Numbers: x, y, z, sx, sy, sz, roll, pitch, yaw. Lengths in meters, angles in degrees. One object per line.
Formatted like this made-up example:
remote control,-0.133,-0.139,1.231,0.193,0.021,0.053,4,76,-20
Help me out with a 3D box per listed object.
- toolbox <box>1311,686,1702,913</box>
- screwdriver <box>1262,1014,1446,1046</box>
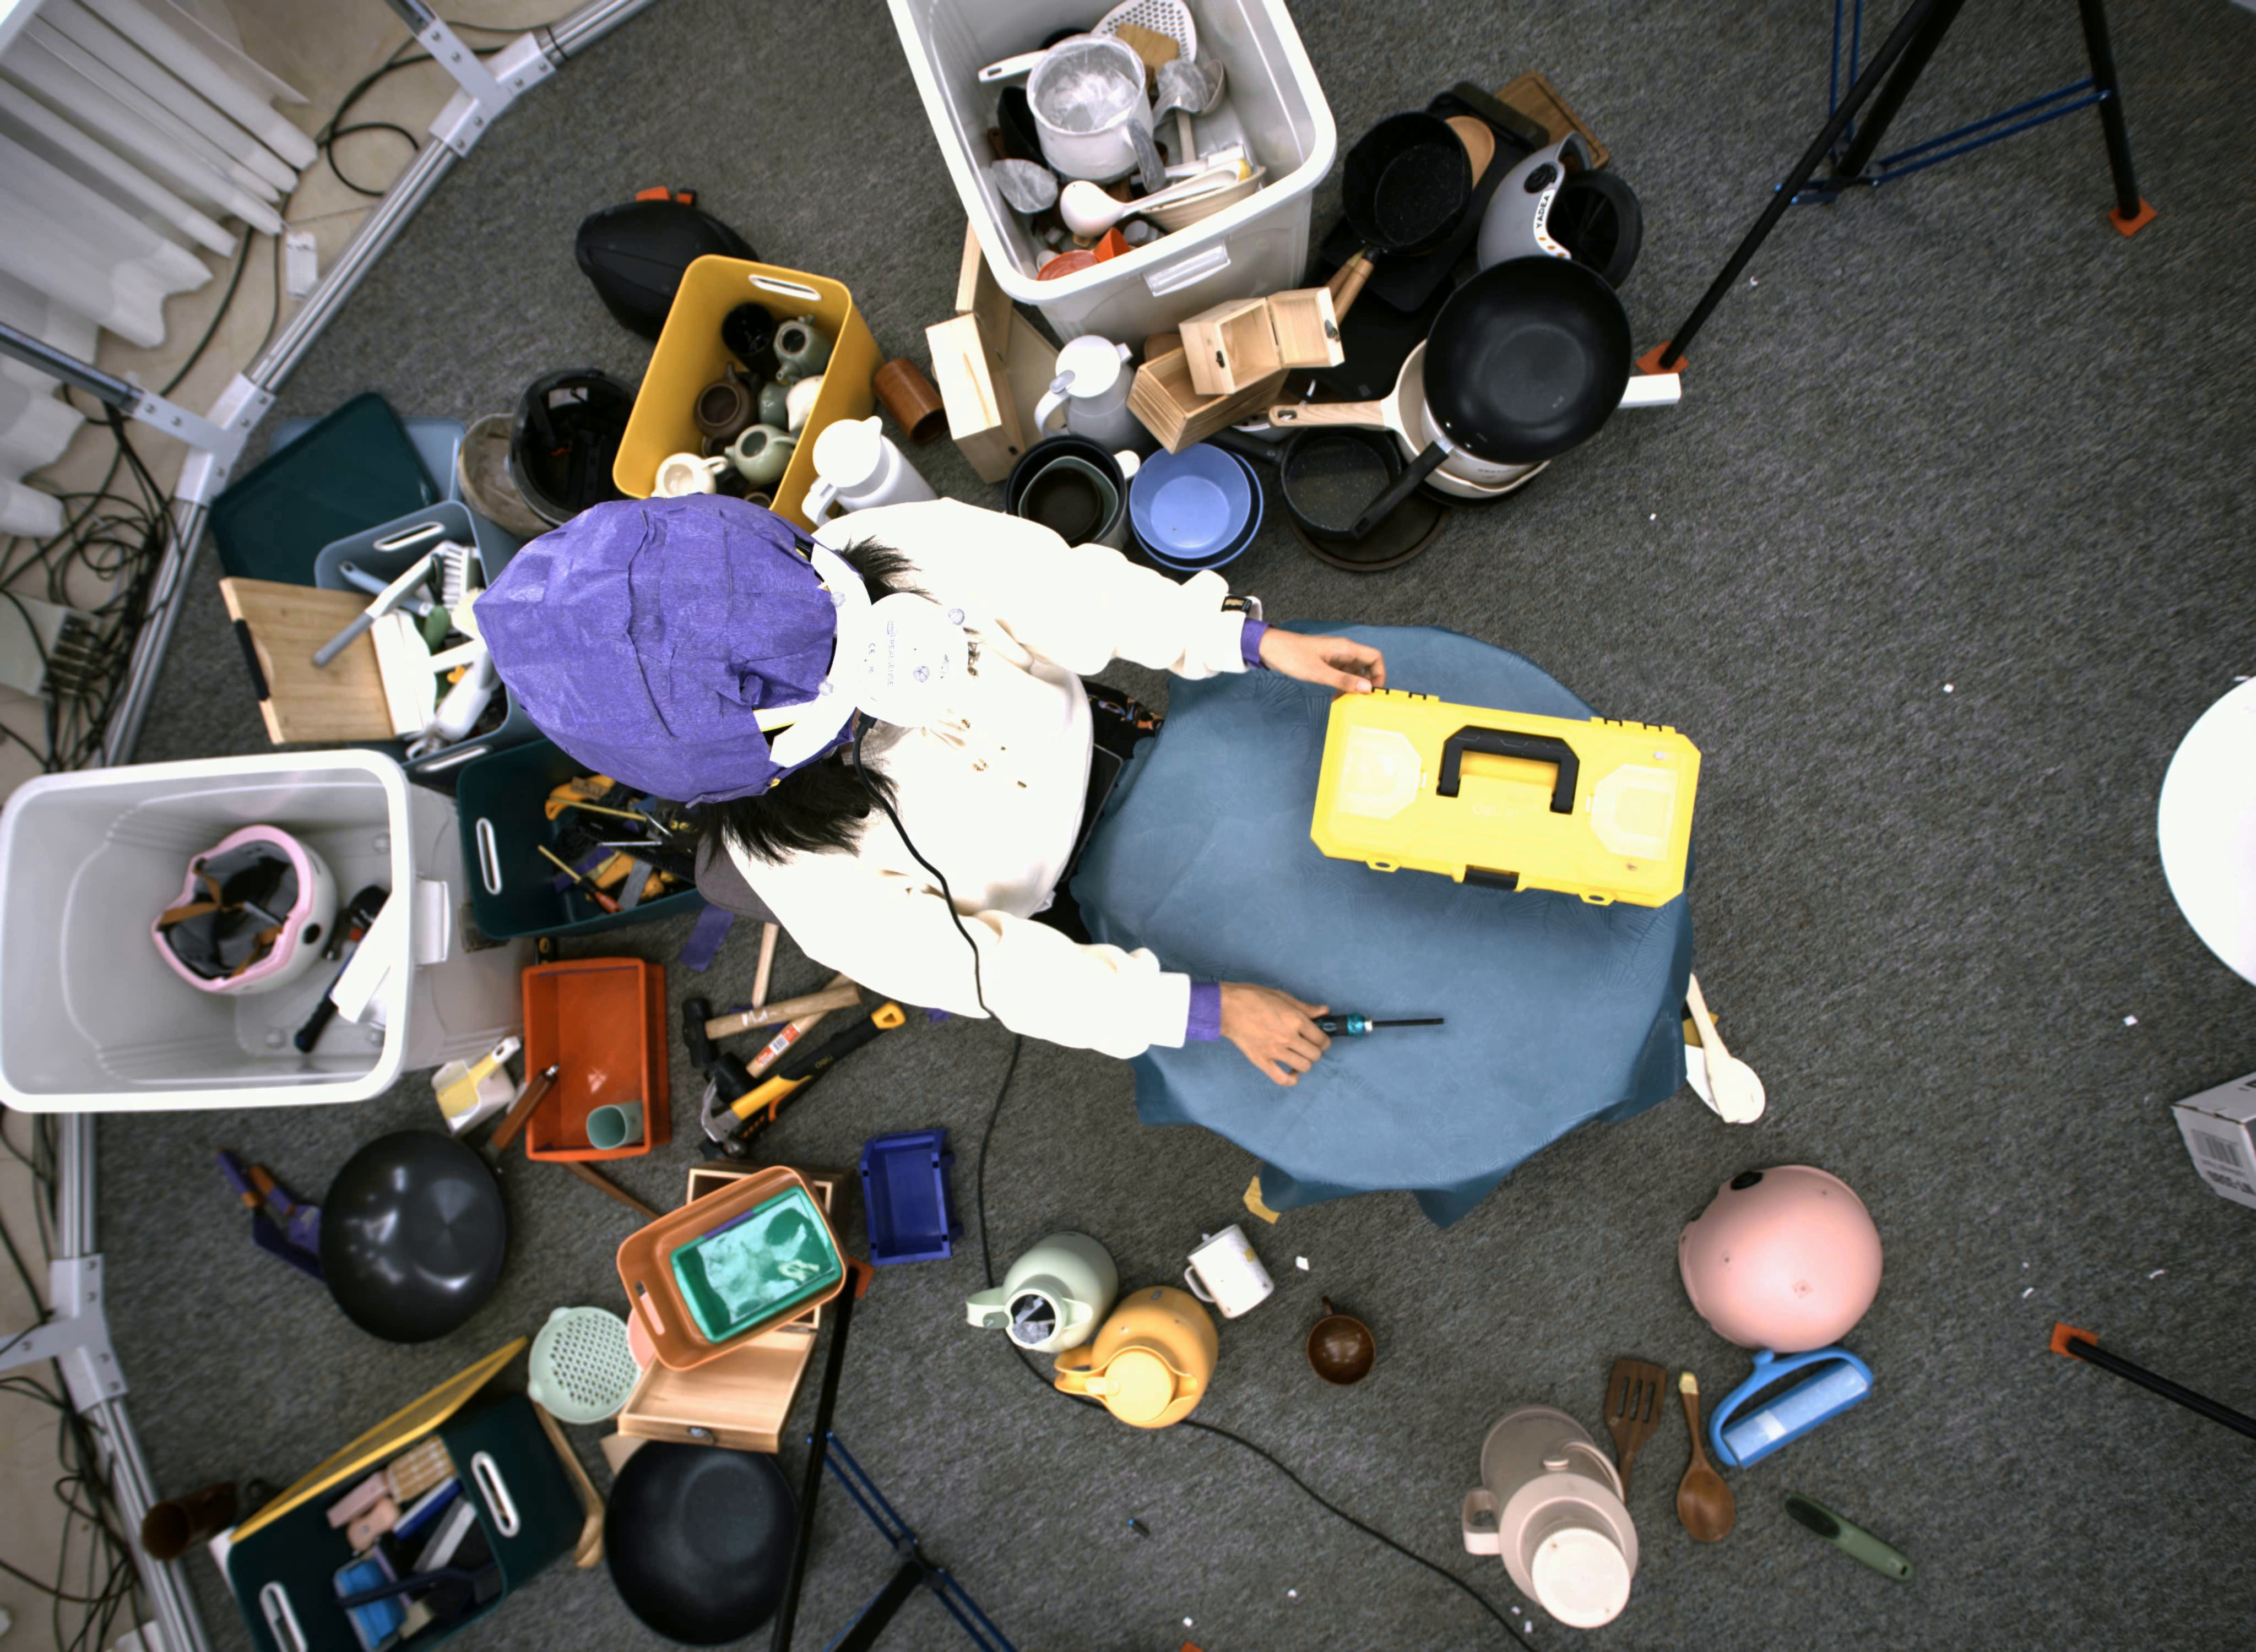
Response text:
toolbox,0.366,-0.026,1.360,0.352,0.173,0.181,9,87,11
screwdriver,0.235,0.208,1.439,0.190,0.034,0.033,-4,84,5
